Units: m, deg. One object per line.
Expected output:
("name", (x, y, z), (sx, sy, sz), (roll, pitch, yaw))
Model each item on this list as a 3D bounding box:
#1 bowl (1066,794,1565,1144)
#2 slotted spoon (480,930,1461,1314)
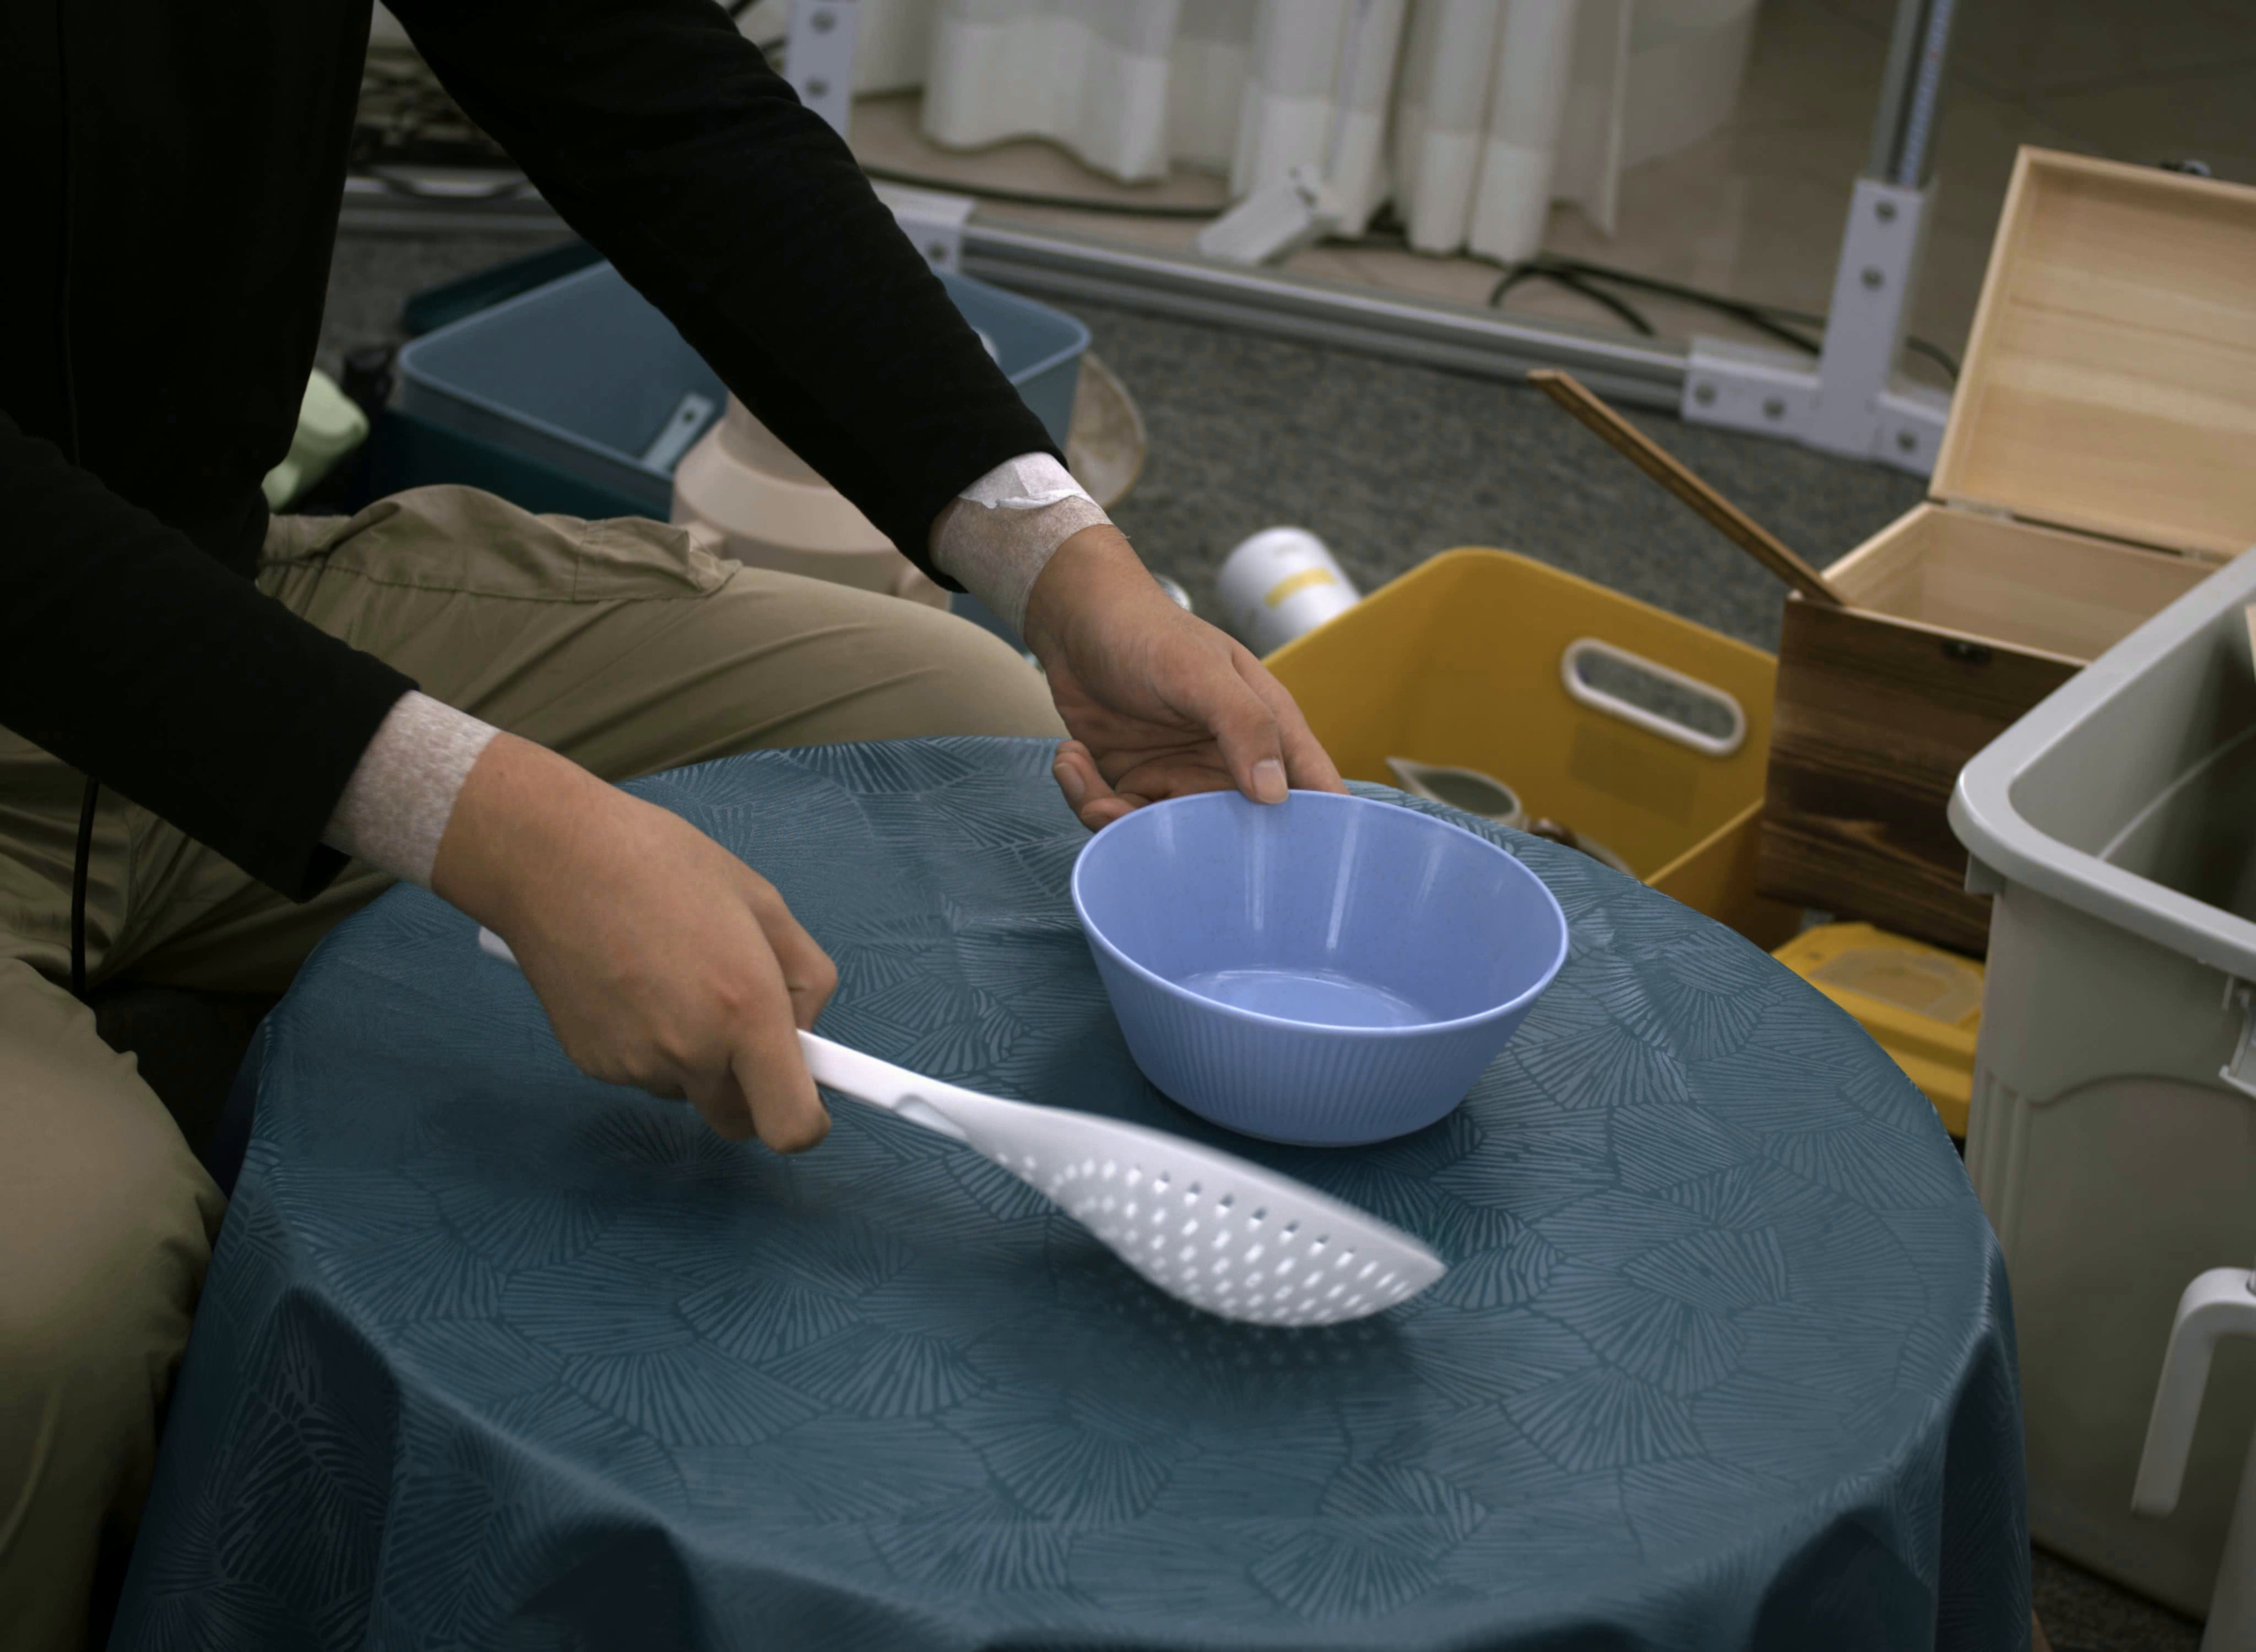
("bowl", (0.063, 0.056, 1.873), (0.175, 0.070, 0.177), (4, 26, -2))
("slotted spoon", (-0.058, 0.092, 1.747), (0.351, 0.046, 0.135), (22, -11, 19))
